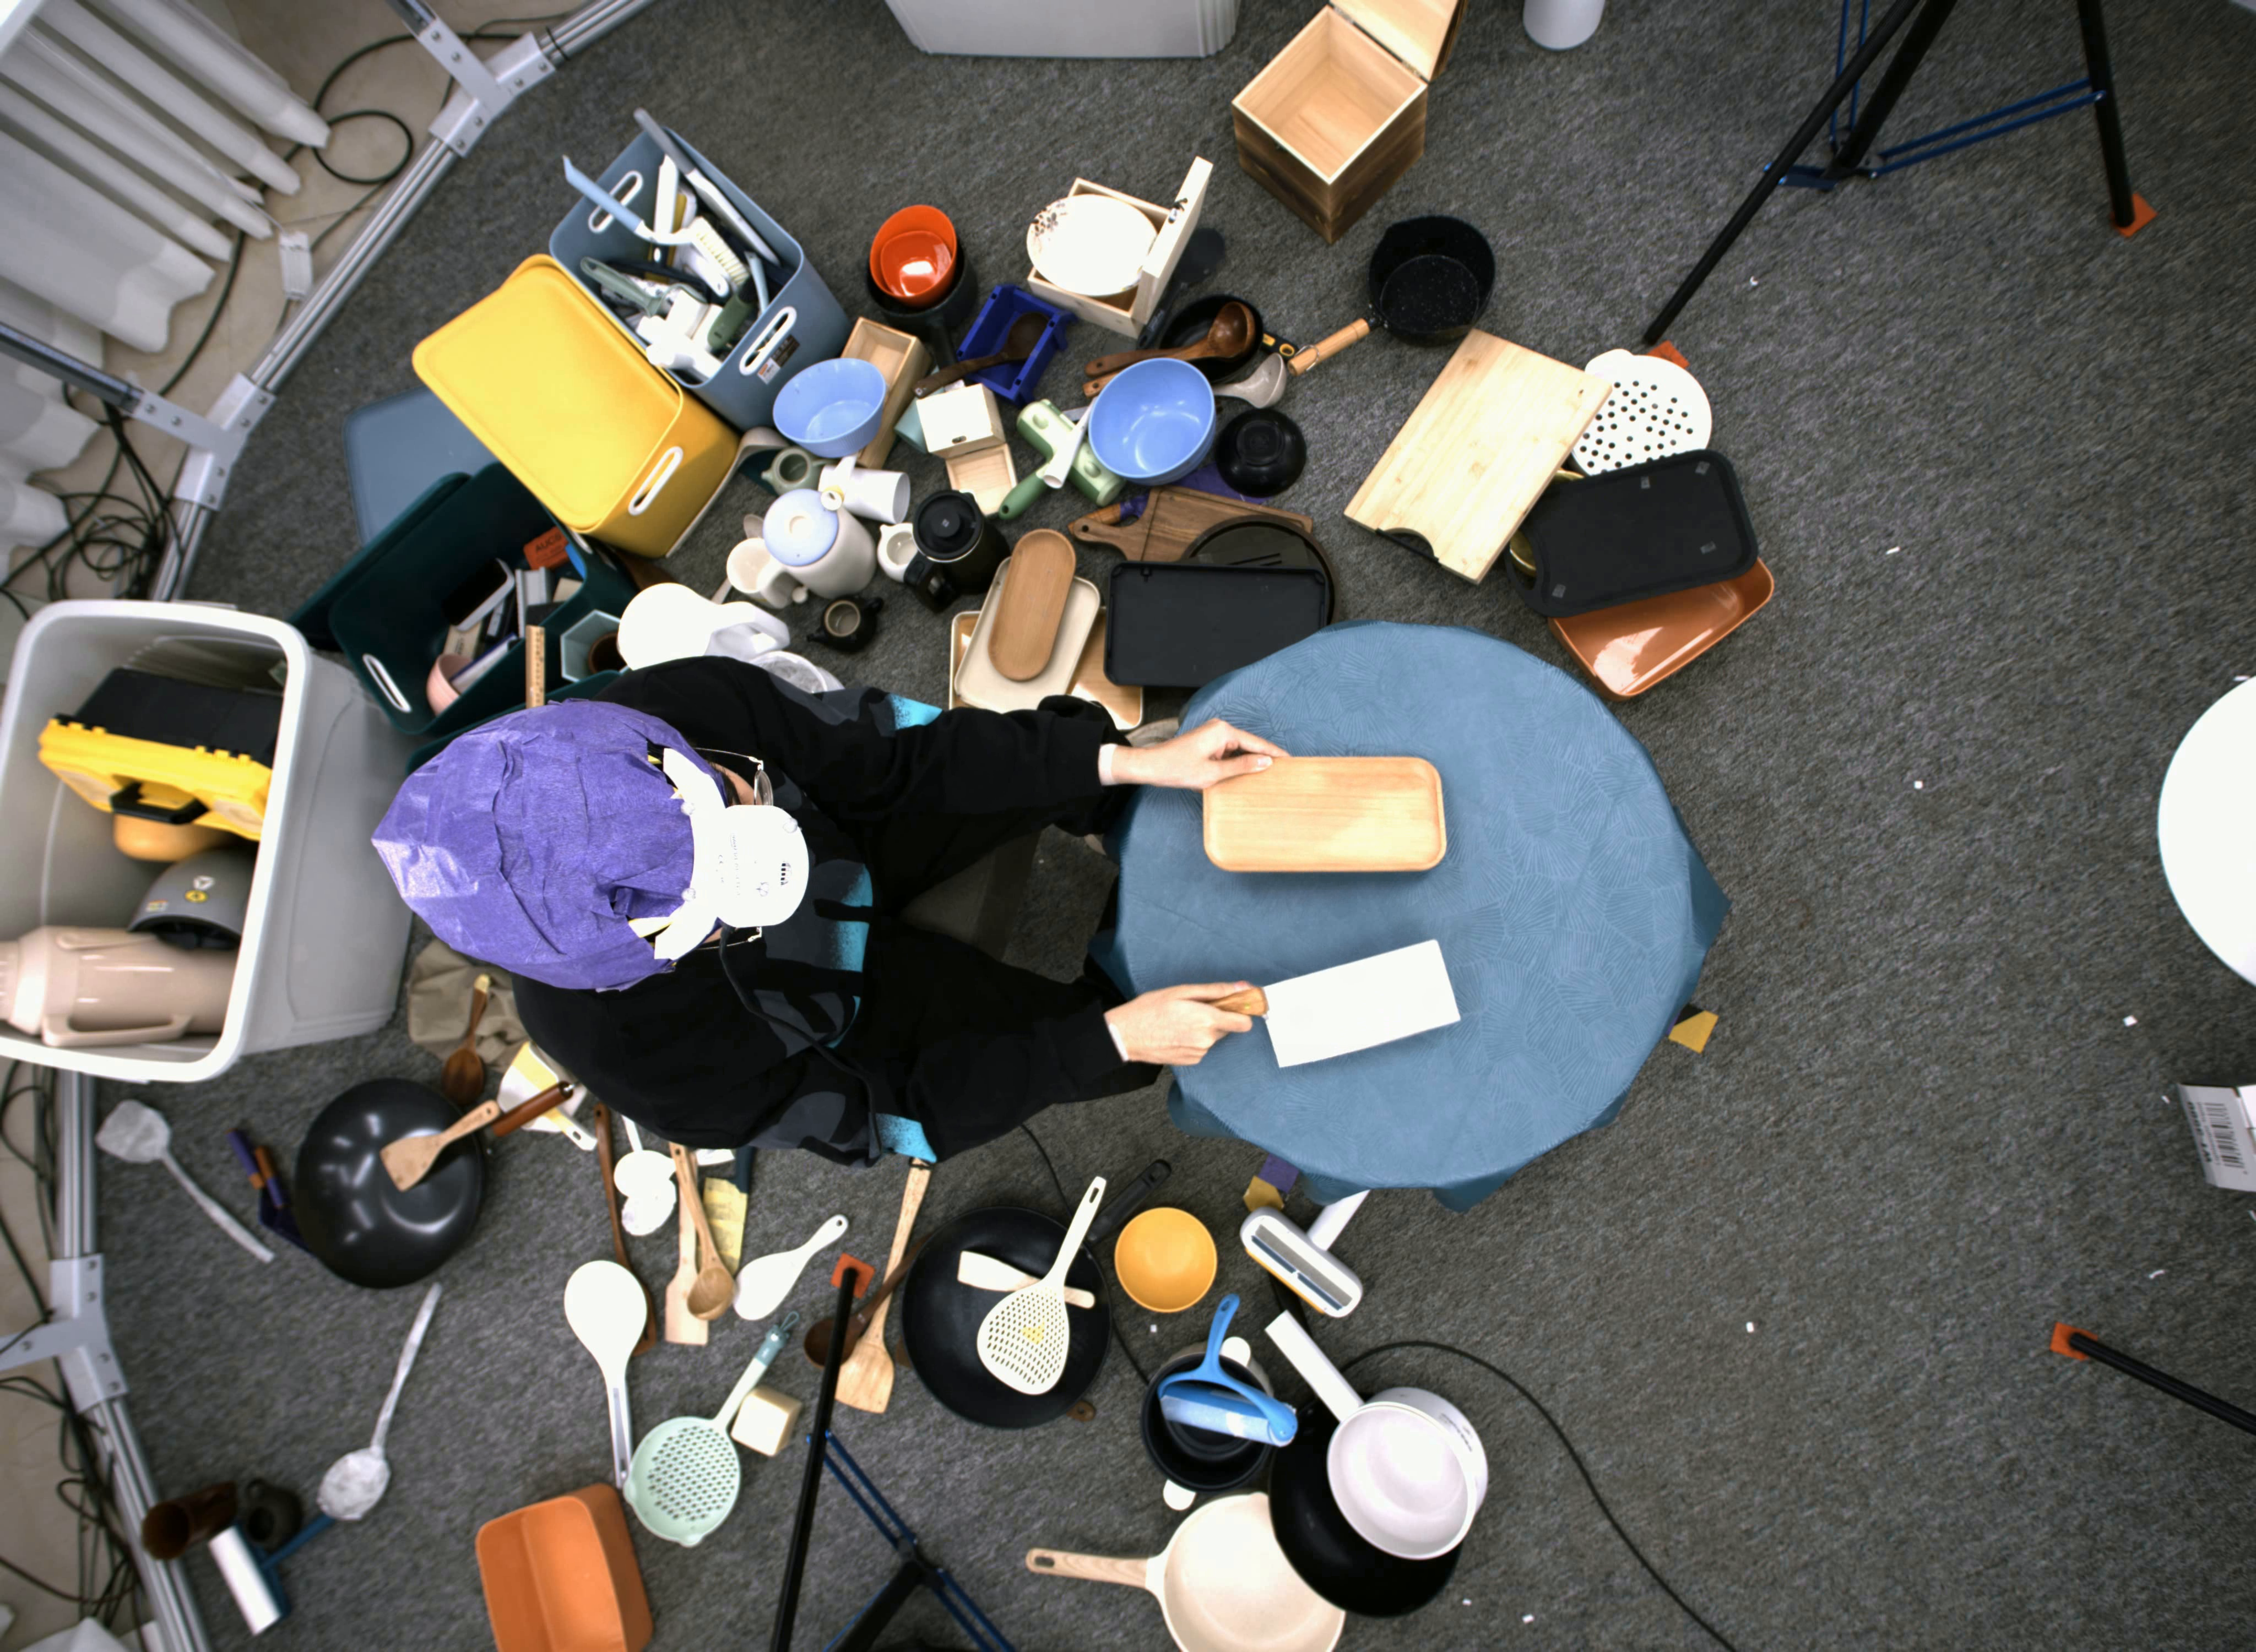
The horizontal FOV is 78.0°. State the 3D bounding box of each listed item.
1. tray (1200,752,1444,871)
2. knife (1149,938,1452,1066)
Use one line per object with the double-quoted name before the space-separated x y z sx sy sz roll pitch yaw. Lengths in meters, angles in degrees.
"tray" 0.200 -0.015 1.430 0.251 0.023 0.128 1 65 3
"knife" 0.176 0.194 1.412 0.308 0.020 0.093 -18 103 14
